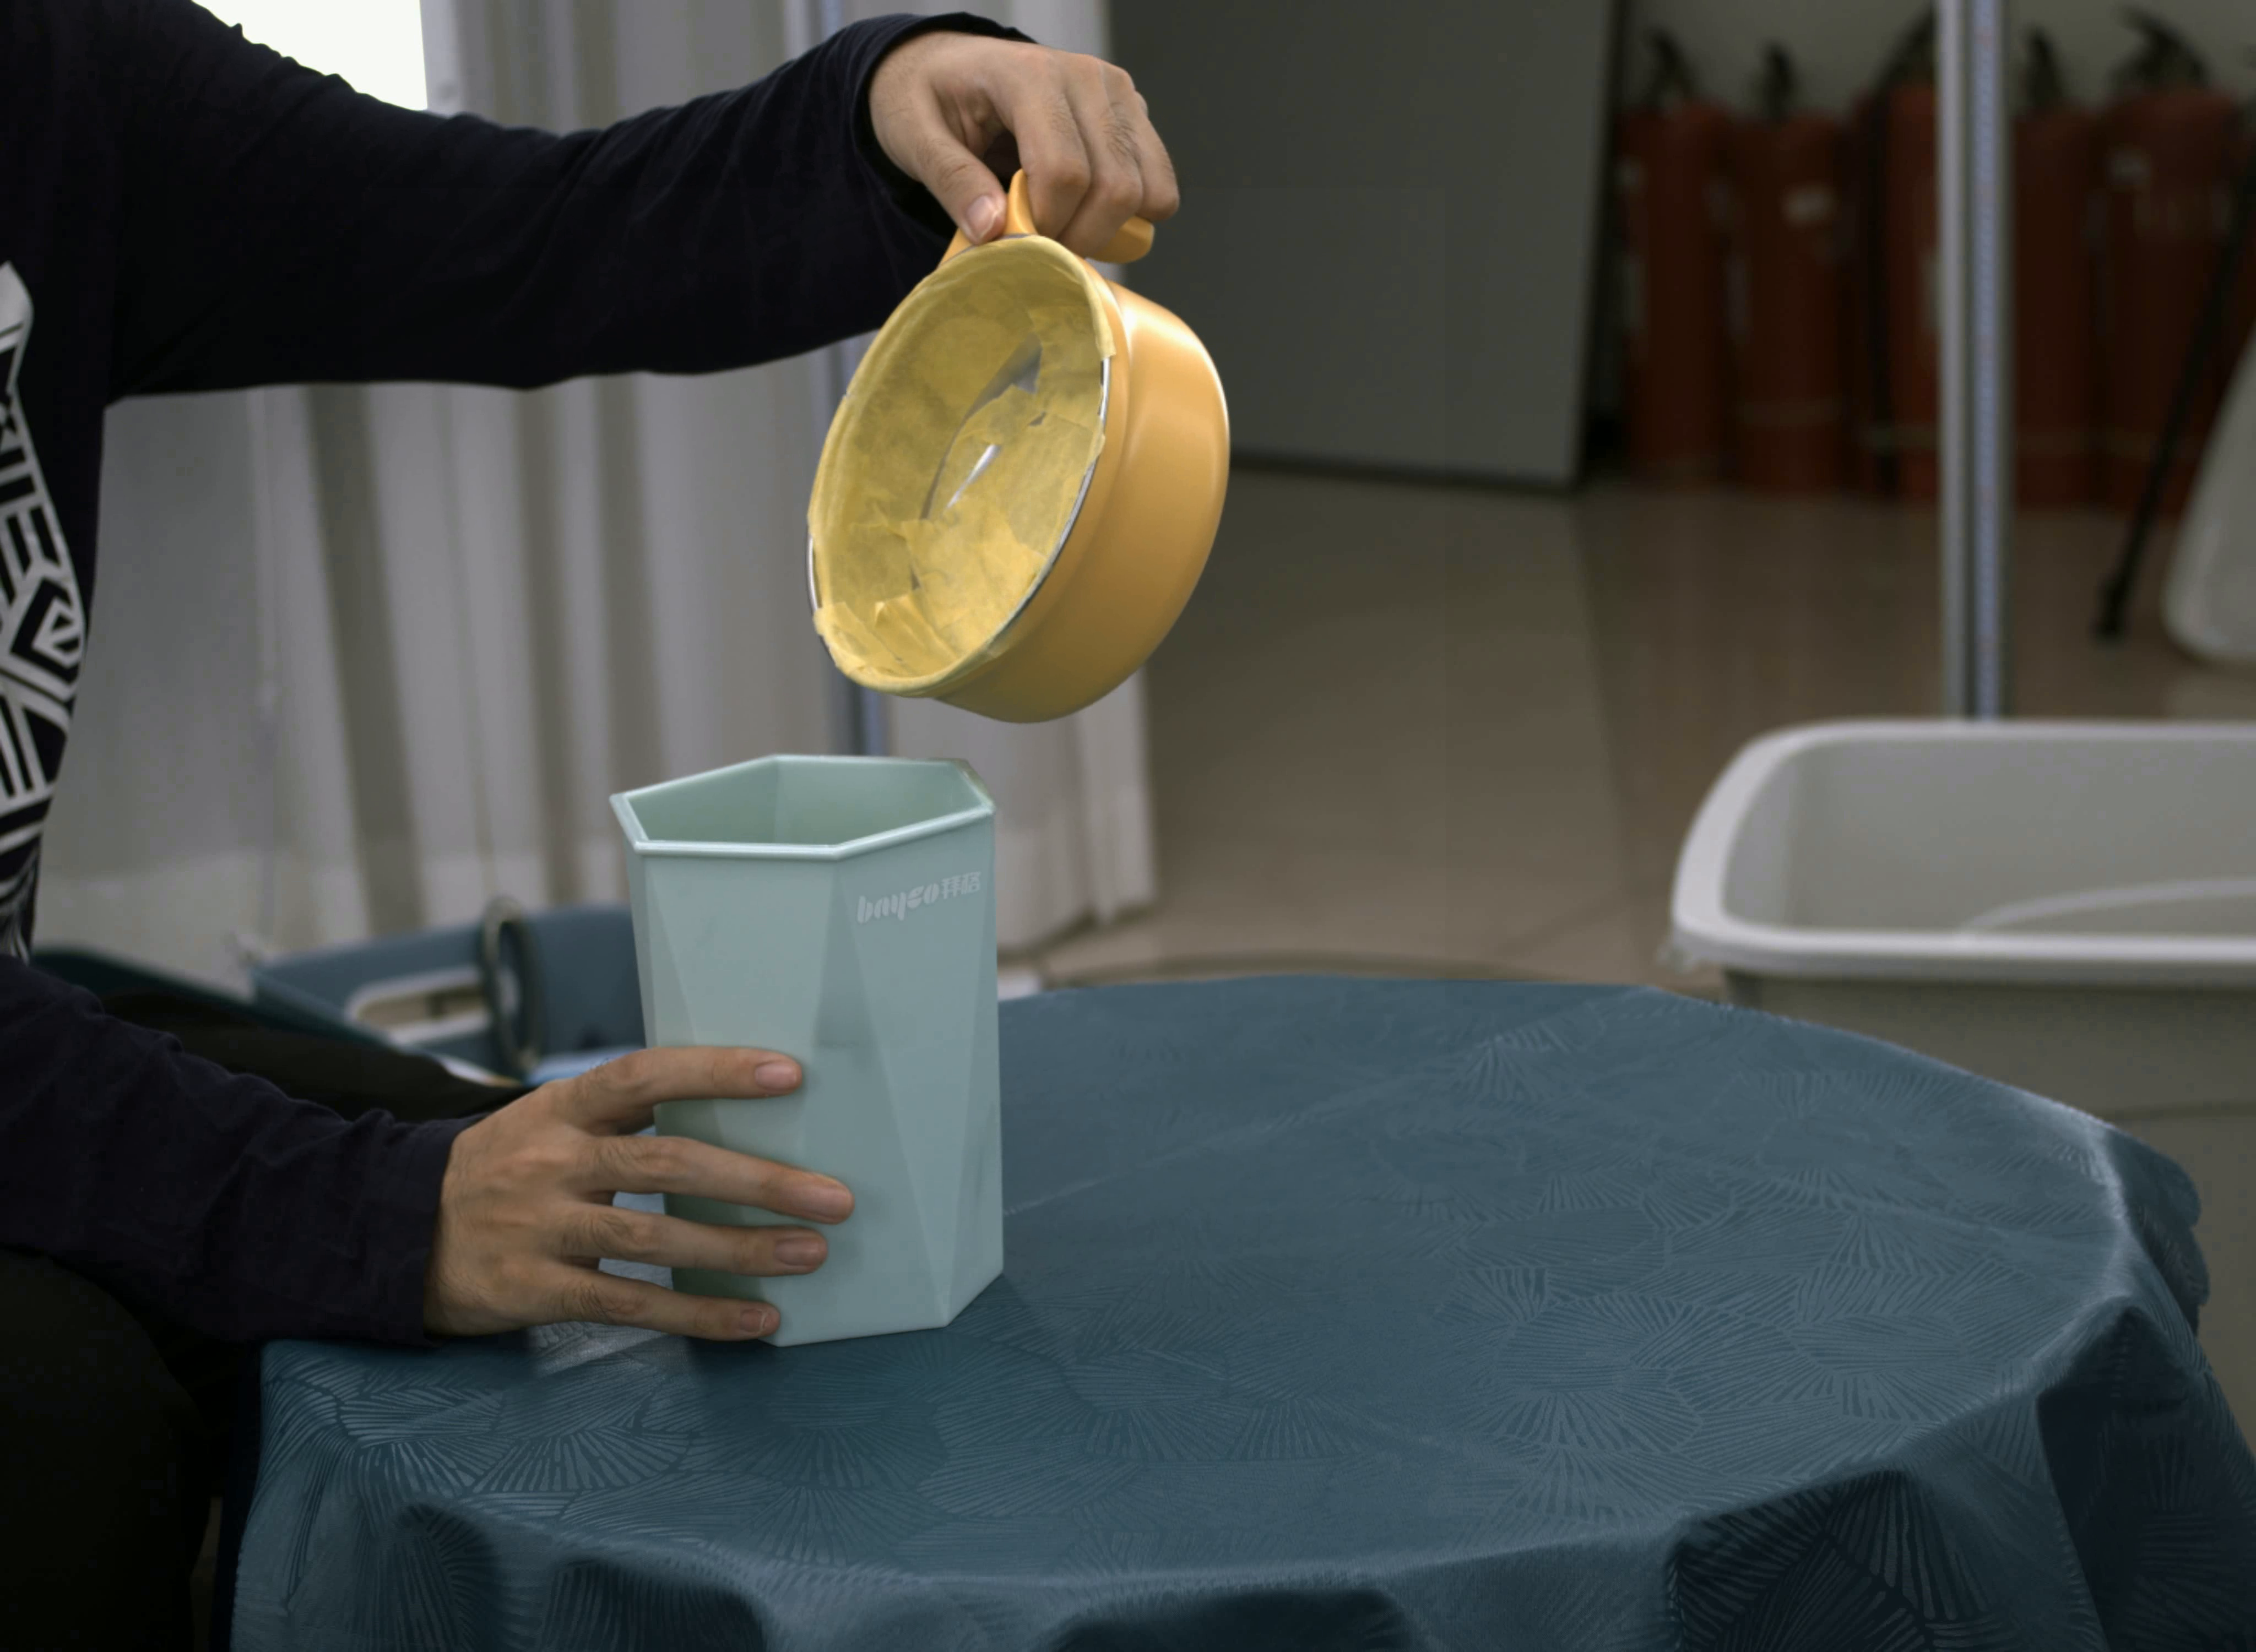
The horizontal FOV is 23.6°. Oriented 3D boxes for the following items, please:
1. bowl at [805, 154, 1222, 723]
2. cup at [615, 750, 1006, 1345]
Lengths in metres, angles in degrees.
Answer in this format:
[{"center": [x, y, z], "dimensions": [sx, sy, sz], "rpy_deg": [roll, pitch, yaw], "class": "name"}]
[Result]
[{"center": [-0.030, -0.120, 1.703], "dimensions": [0.072, 0.181, 0.154], "rpy_deg": [17, -26, -31], "class": "bowl"}, {"center": [-0.093, 0.068, 1.675], "dimensions": [0.128, 0.165, 0.116], "rpy_deg": [-14, 15, -40], "class": "cup"}]
